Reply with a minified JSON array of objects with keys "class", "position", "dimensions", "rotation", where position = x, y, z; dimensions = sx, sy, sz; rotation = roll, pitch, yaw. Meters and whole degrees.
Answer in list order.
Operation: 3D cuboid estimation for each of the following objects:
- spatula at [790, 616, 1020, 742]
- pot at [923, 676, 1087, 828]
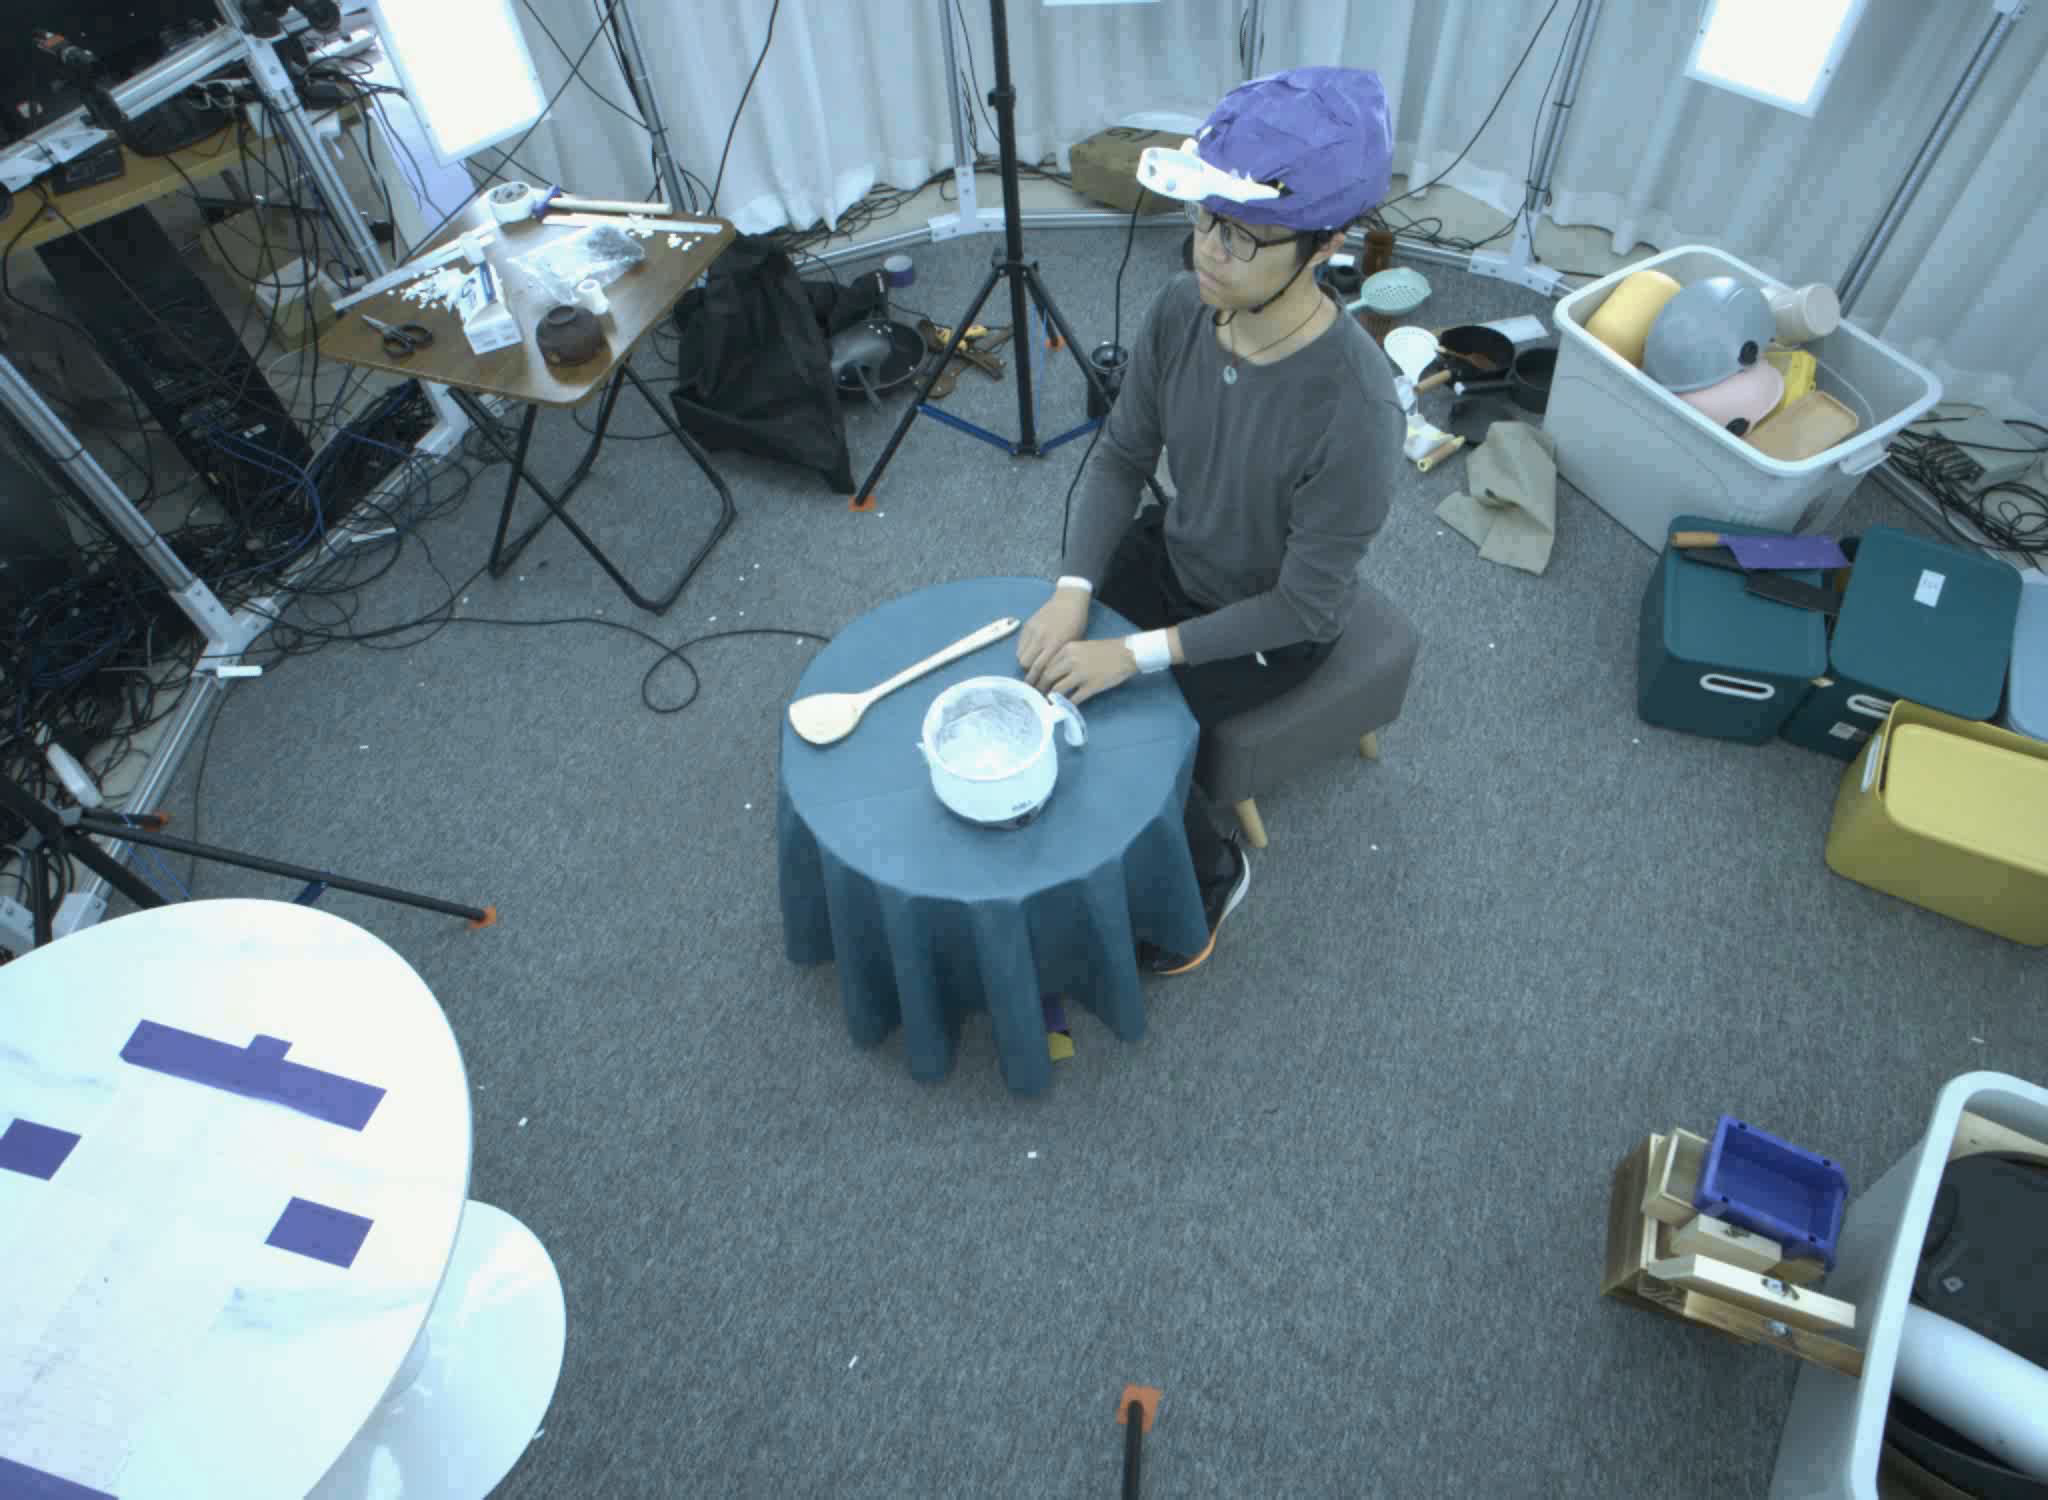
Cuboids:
[{"class":"spatula","position":[-0.175,-0.122,1.876],"dimensions":[0.394,0.018,0.094],"rotation":[-29,60,-18]},{"class":"pot","position":[-0.020,-0.007,1.715],"dimensions":[0.235,0.138,0.175],"rotation":[-26,58,-15]}]
